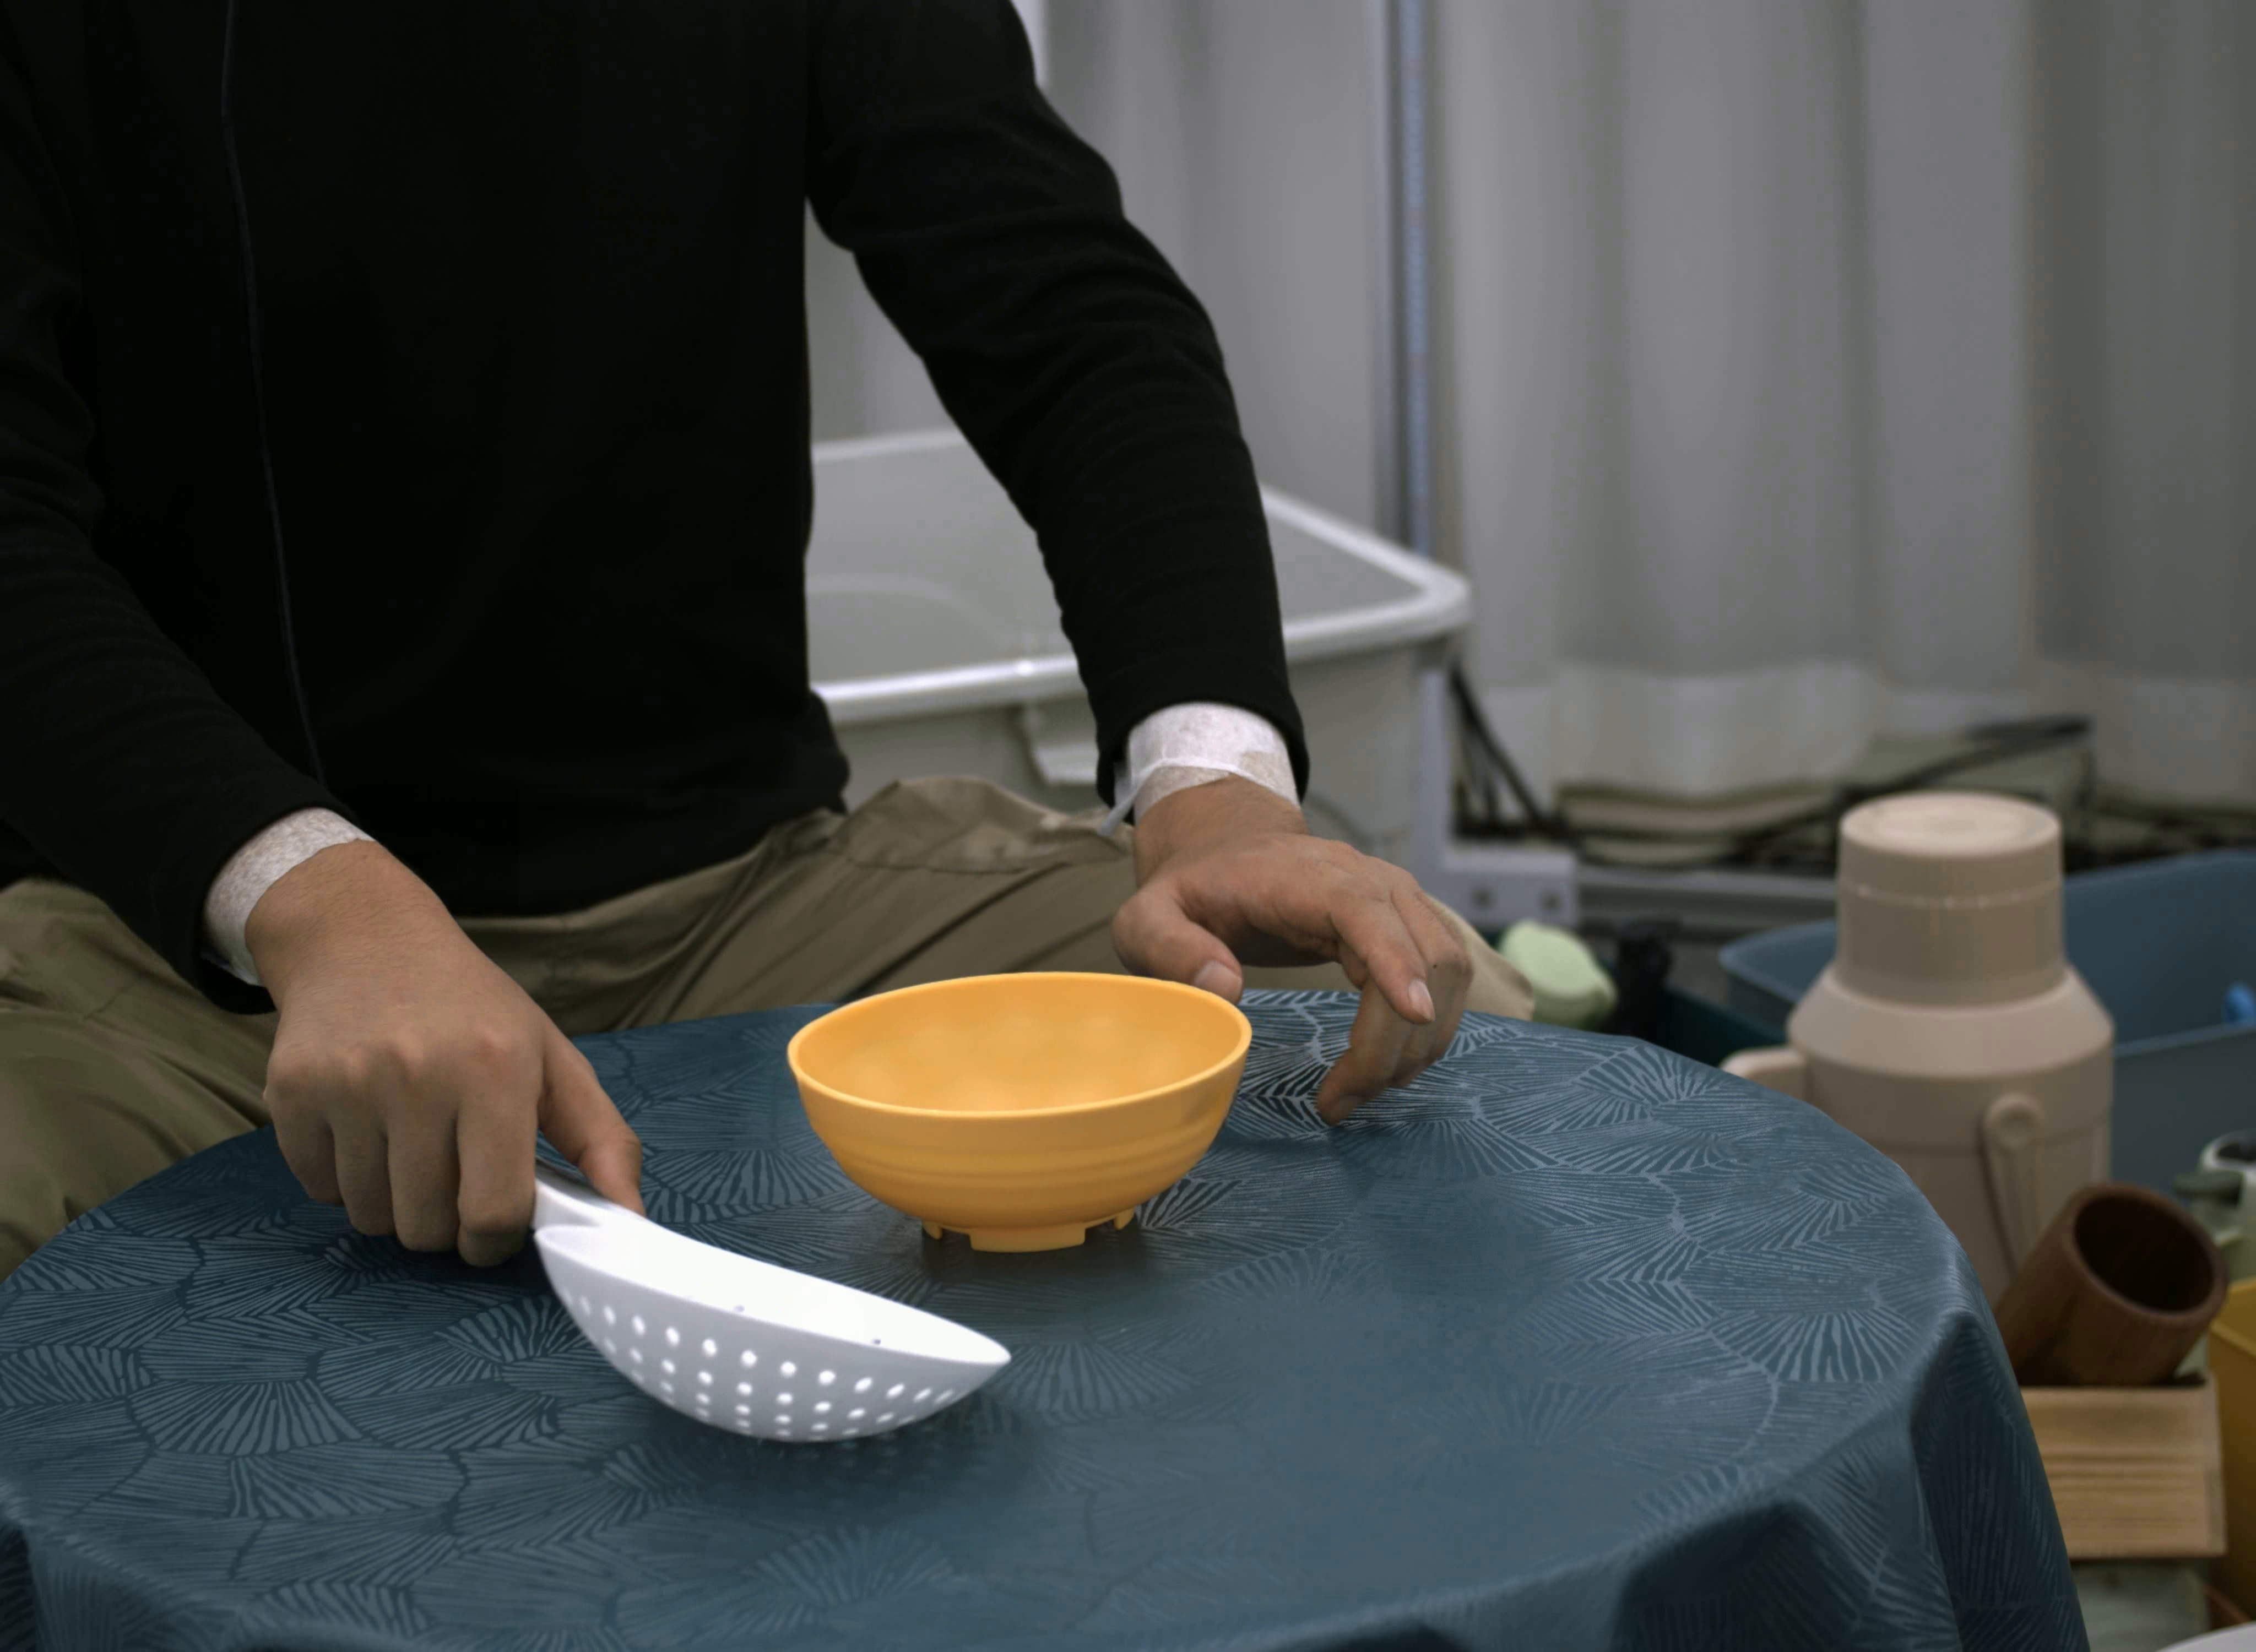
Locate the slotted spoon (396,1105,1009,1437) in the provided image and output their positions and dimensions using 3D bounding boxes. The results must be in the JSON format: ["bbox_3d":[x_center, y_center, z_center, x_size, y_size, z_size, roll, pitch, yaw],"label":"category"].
[{"bbox_3d":[-0.148,0.121,1.607,0.135,0.046,0.352,17,4,-27],"label":"slotted spoon"}]

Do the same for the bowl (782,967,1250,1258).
[{"bbox_3d":[-0.034,0.094,1.689,0.145,0.060,0.146,-1,16,0],"label":"bowl"}]
